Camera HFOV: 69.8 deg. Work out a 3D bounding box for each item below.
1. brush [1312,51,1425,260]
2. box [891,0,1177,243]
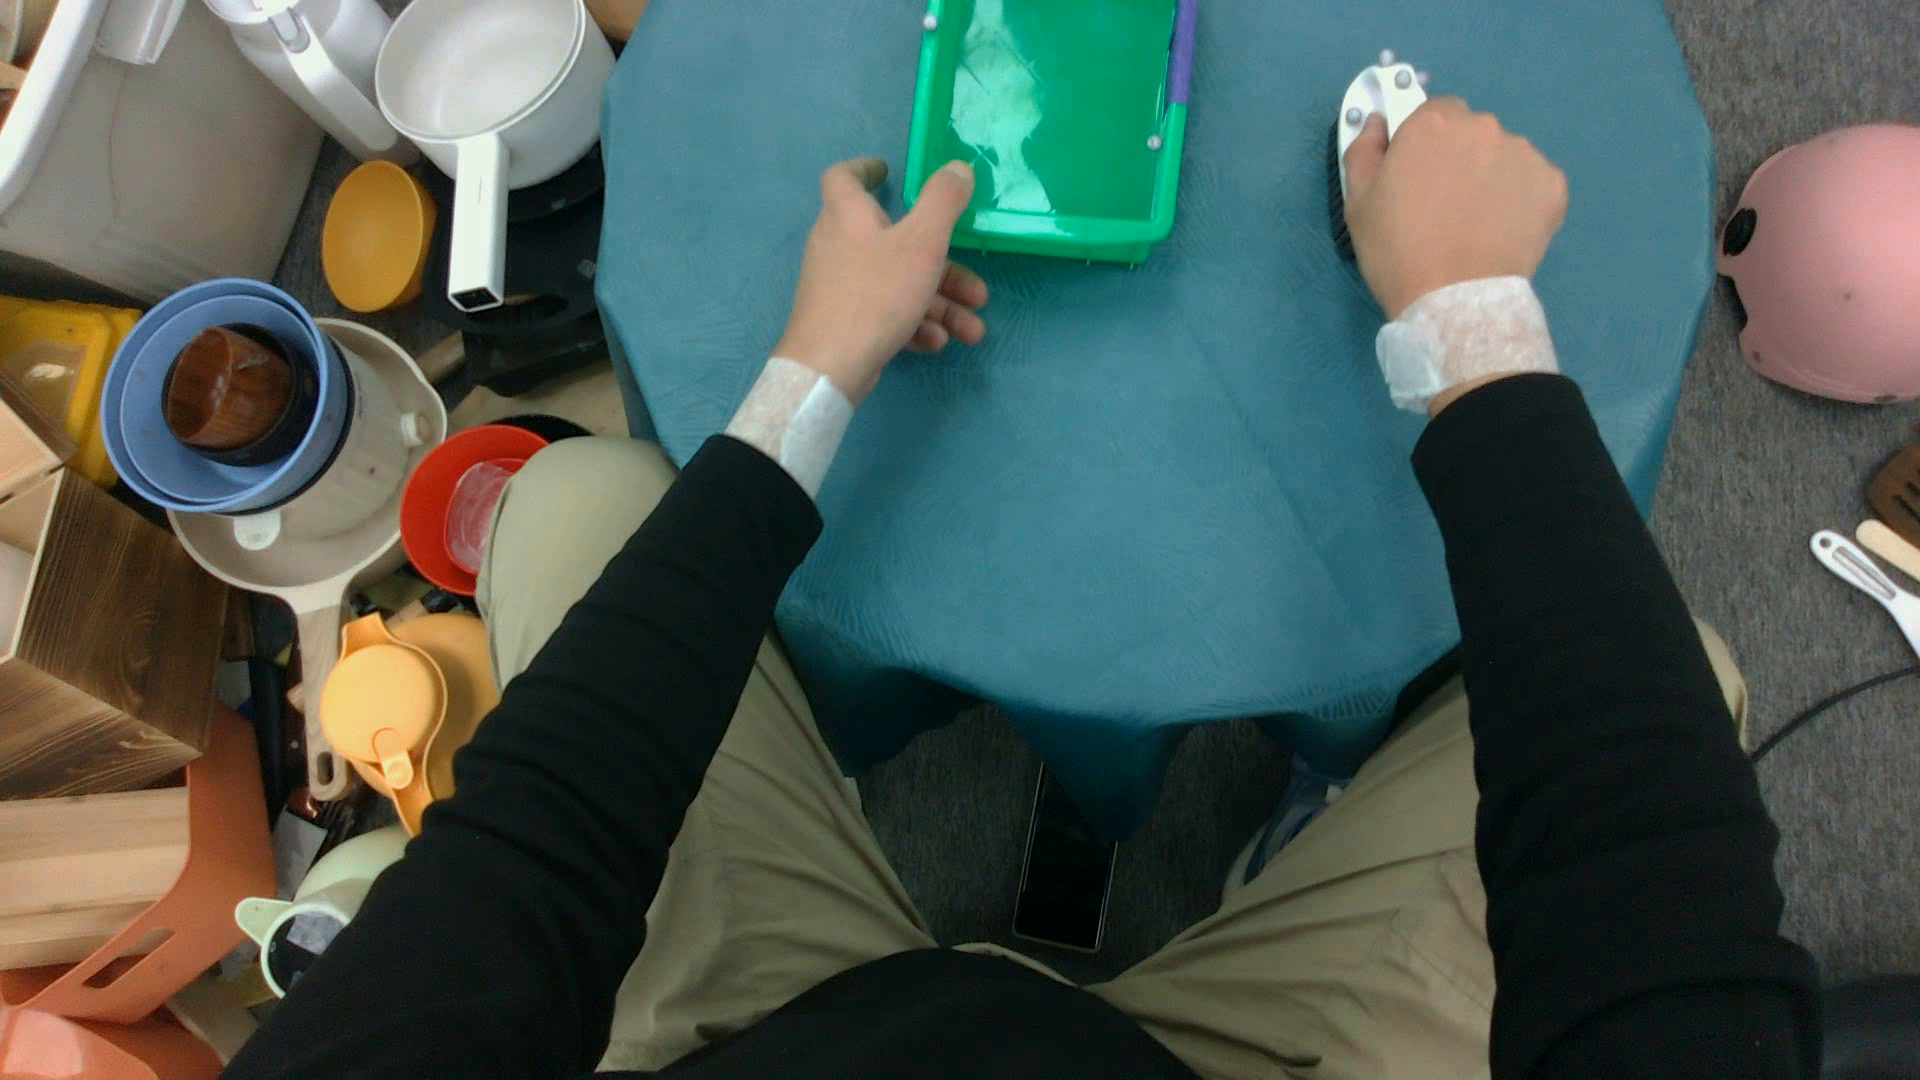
[{"bbox_3d":[0.215,-0.203,0.709,0.050,0.072,0.099,0,80,2],"label":"brush"},{"bbox_3d":[0.042,-0.259,0.732,0.138,0.065,0.211,5,79,2],"label":"box"}]
